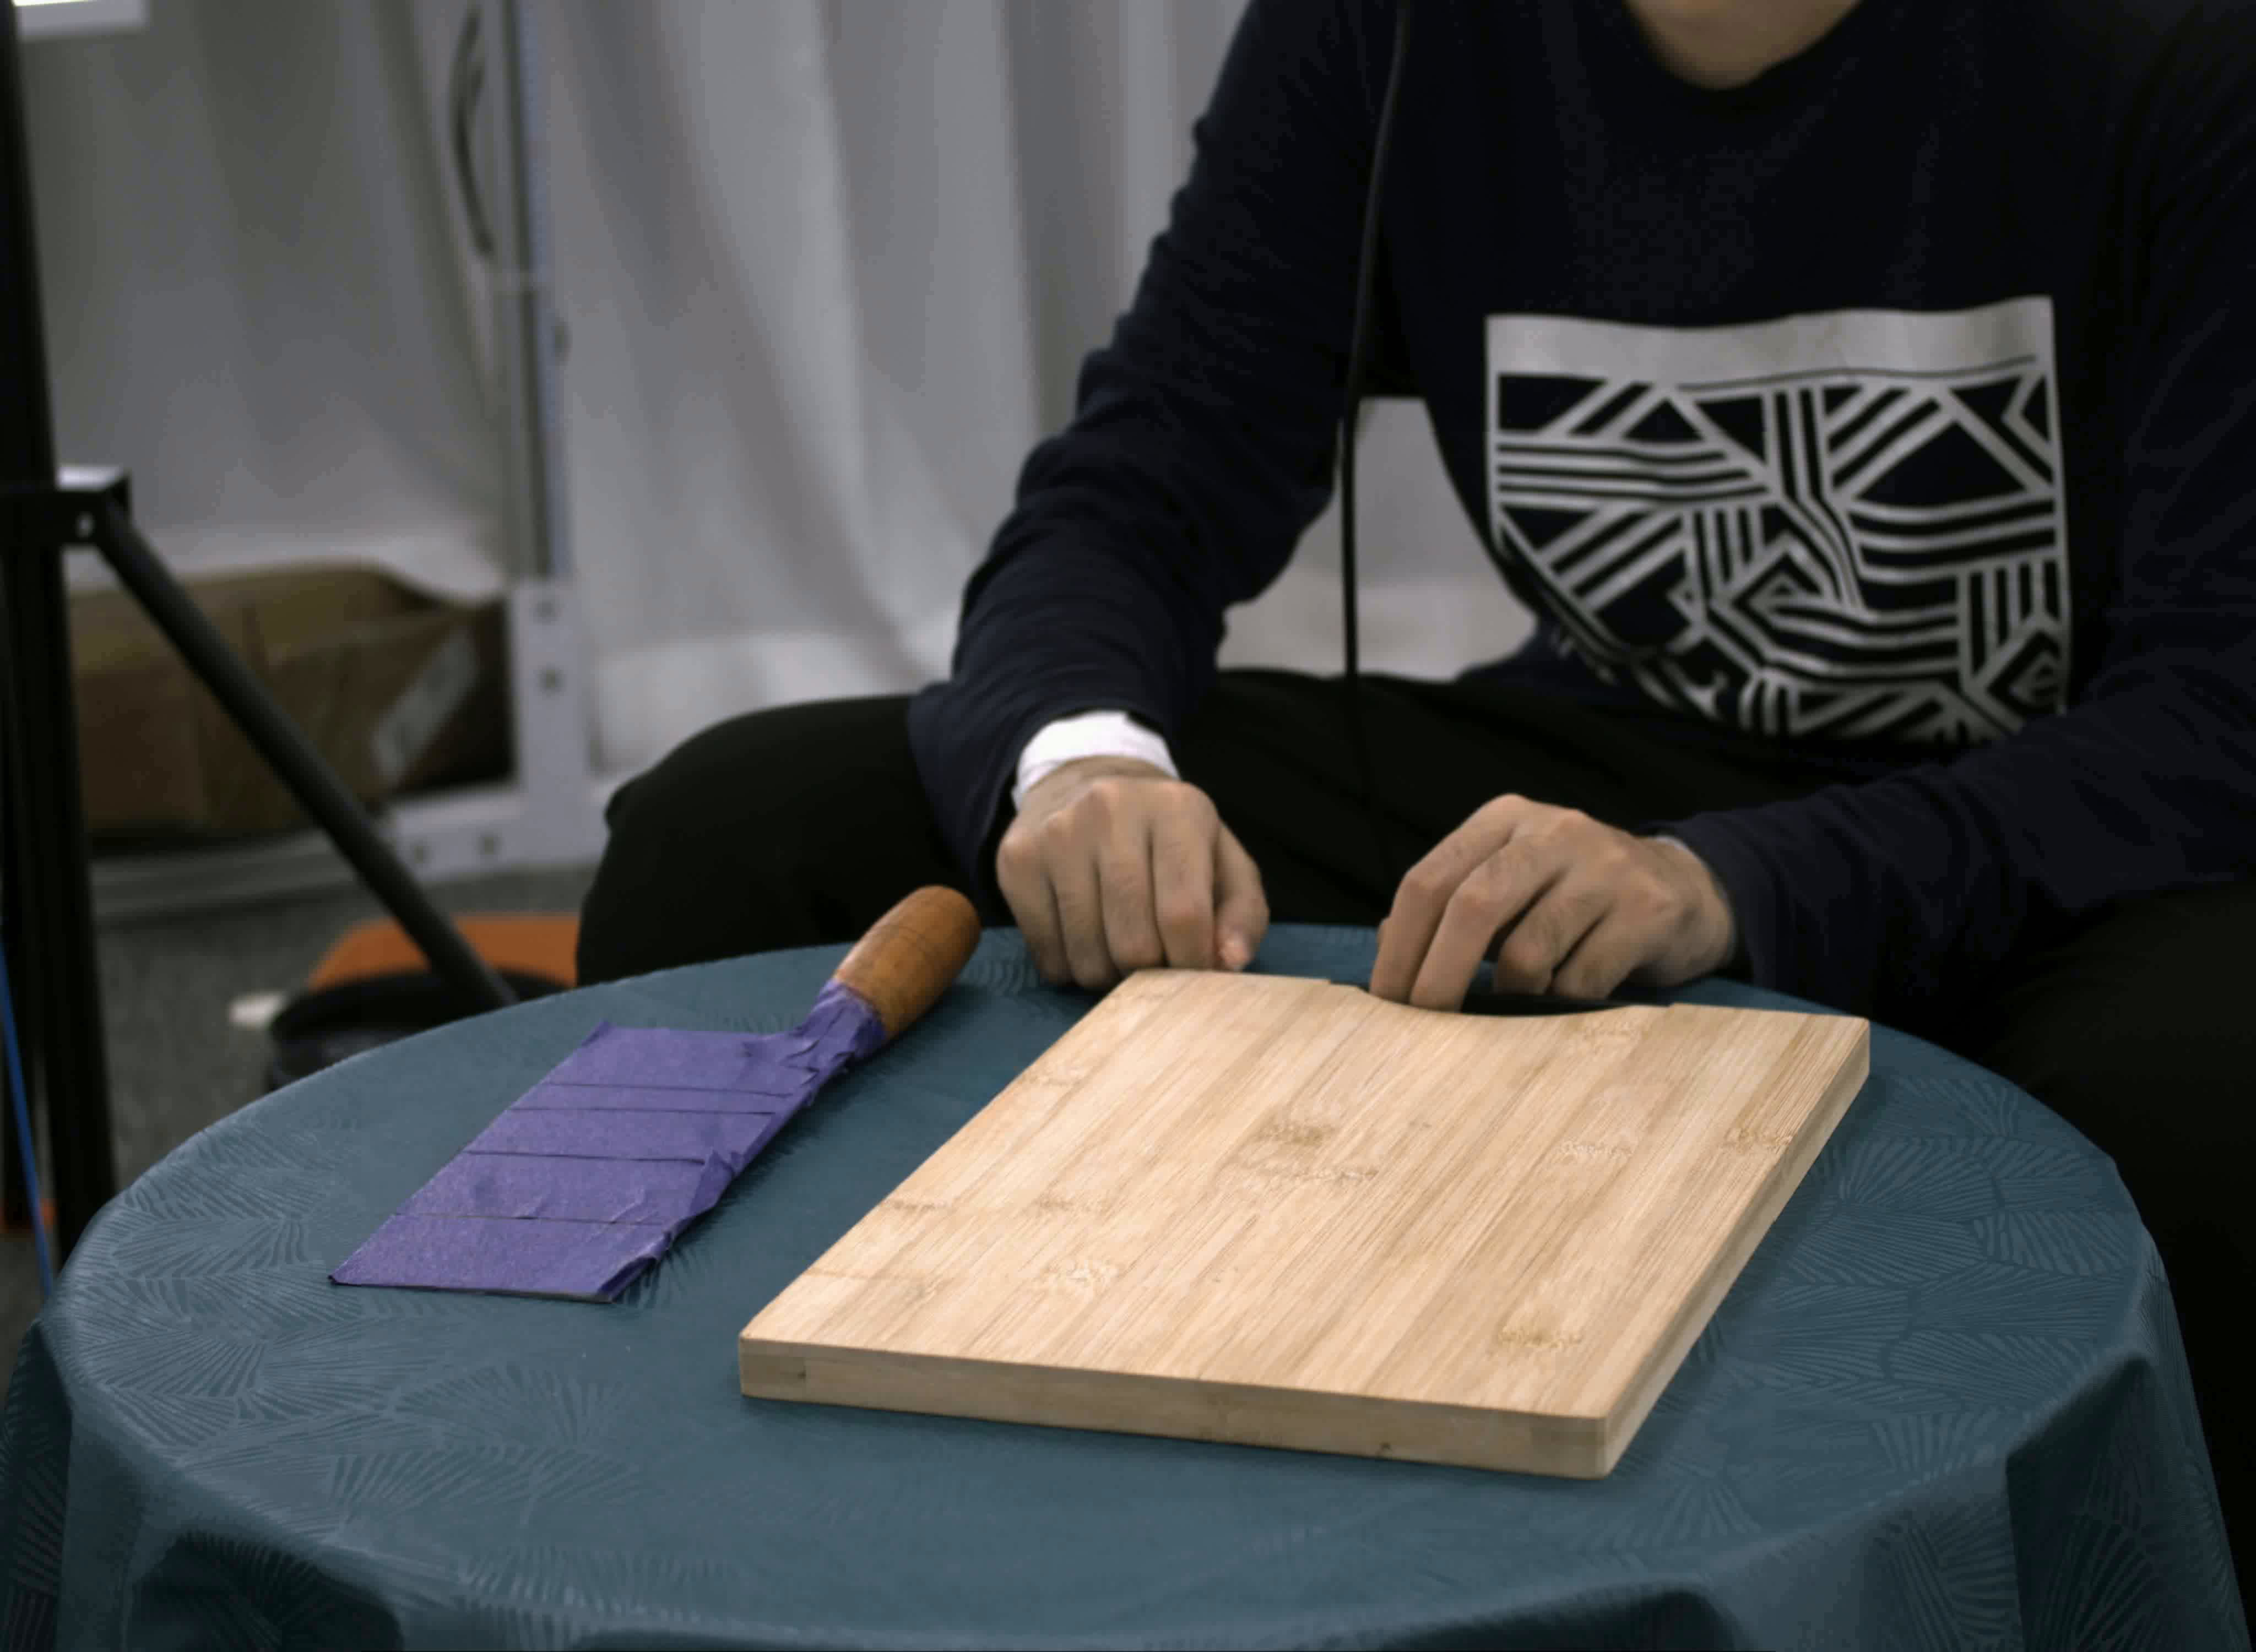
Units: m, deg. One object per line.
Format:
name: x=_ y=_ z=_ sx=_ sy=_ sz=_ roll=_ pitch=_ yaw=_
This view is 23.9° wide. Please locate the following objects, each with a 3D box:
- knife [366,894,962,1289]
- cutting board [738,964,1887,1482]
knife: x=-0.139 y=0.078 z=1.640 sx=0.105 sy=0.032 sz=0.312 roll=3 pitch=17 yaw=17
cutting board: x=0.065 y=0.106 z=1.530 sx=0.253 sy=0.023 sz=0.345 roll=3 pitch=16 yaw=19
